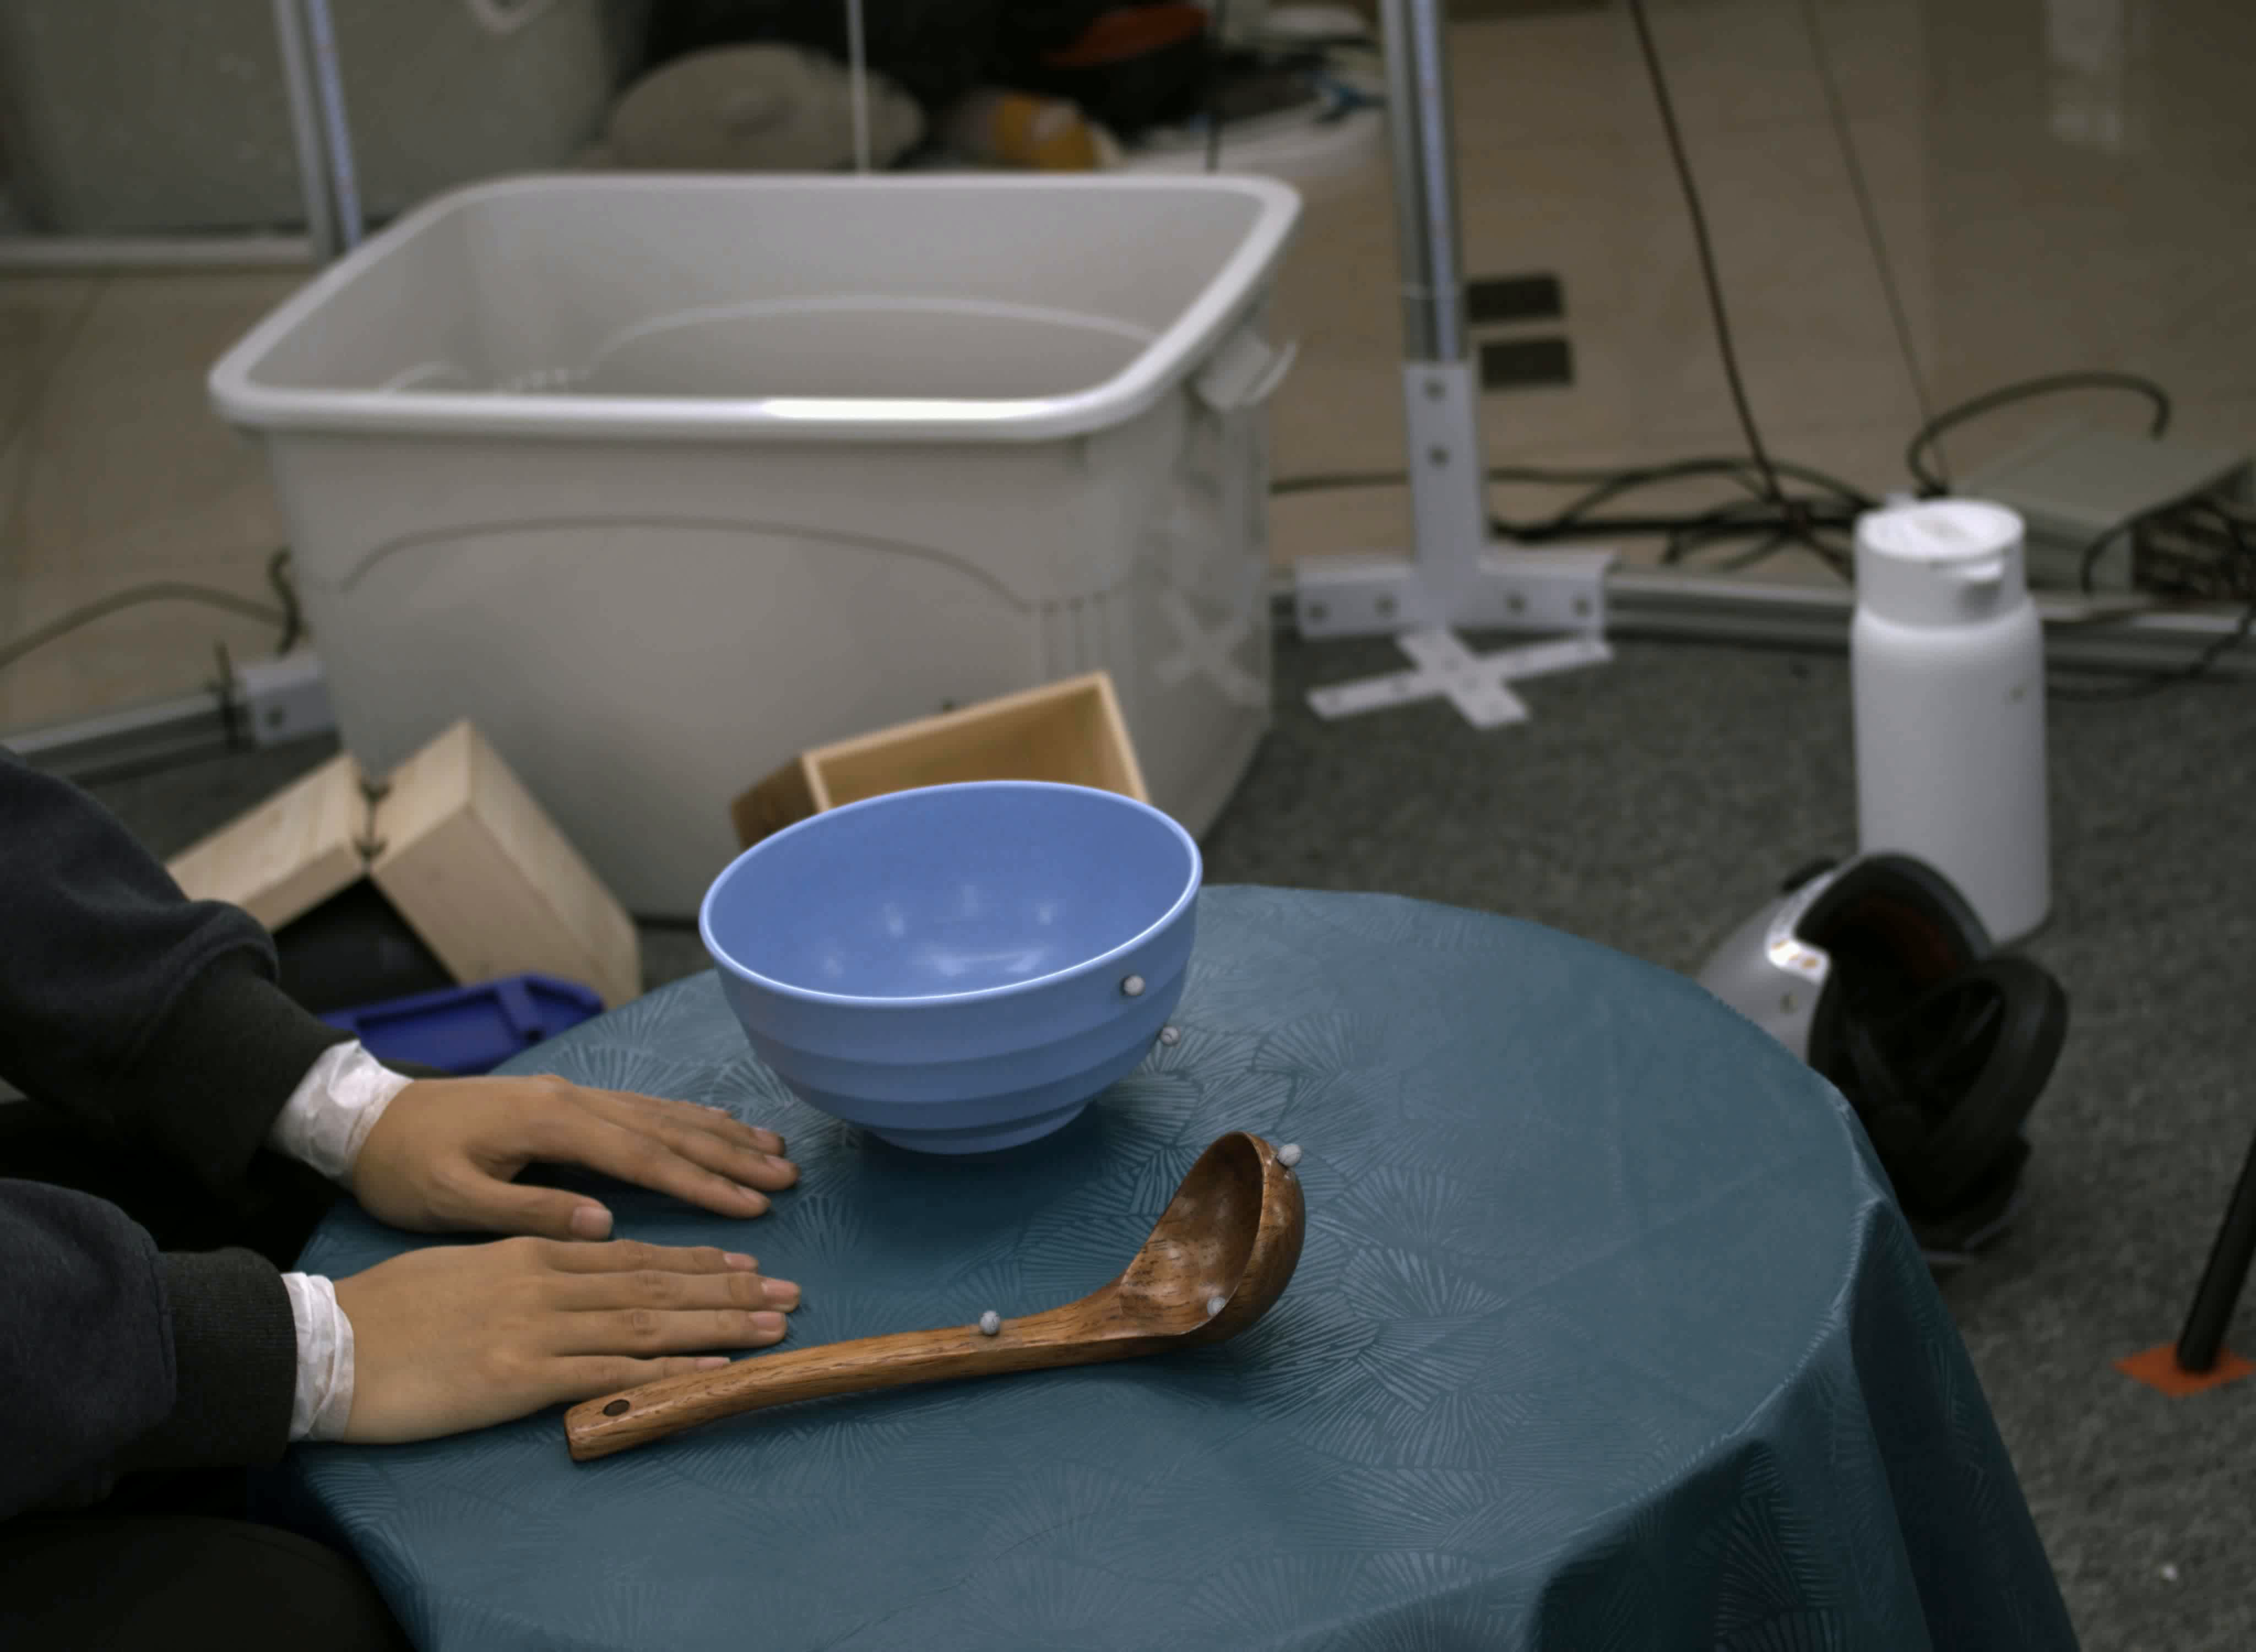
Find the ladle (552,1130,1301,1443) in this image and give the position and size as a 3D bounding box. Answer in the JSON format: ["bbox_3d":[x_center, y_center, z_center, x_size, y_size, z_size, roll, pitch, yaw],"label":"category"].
[{"bbox_3d":[-0.072,0.165,2.014,0.273,0.078,0.080,-8,29,-5],"label":"ladle"}]

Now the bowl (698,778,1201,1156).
[{"bbox_3d":[-0.063,0.066,2.207,0.196,0.097,0.193,-7,26,3],"label":"bowl"}]
